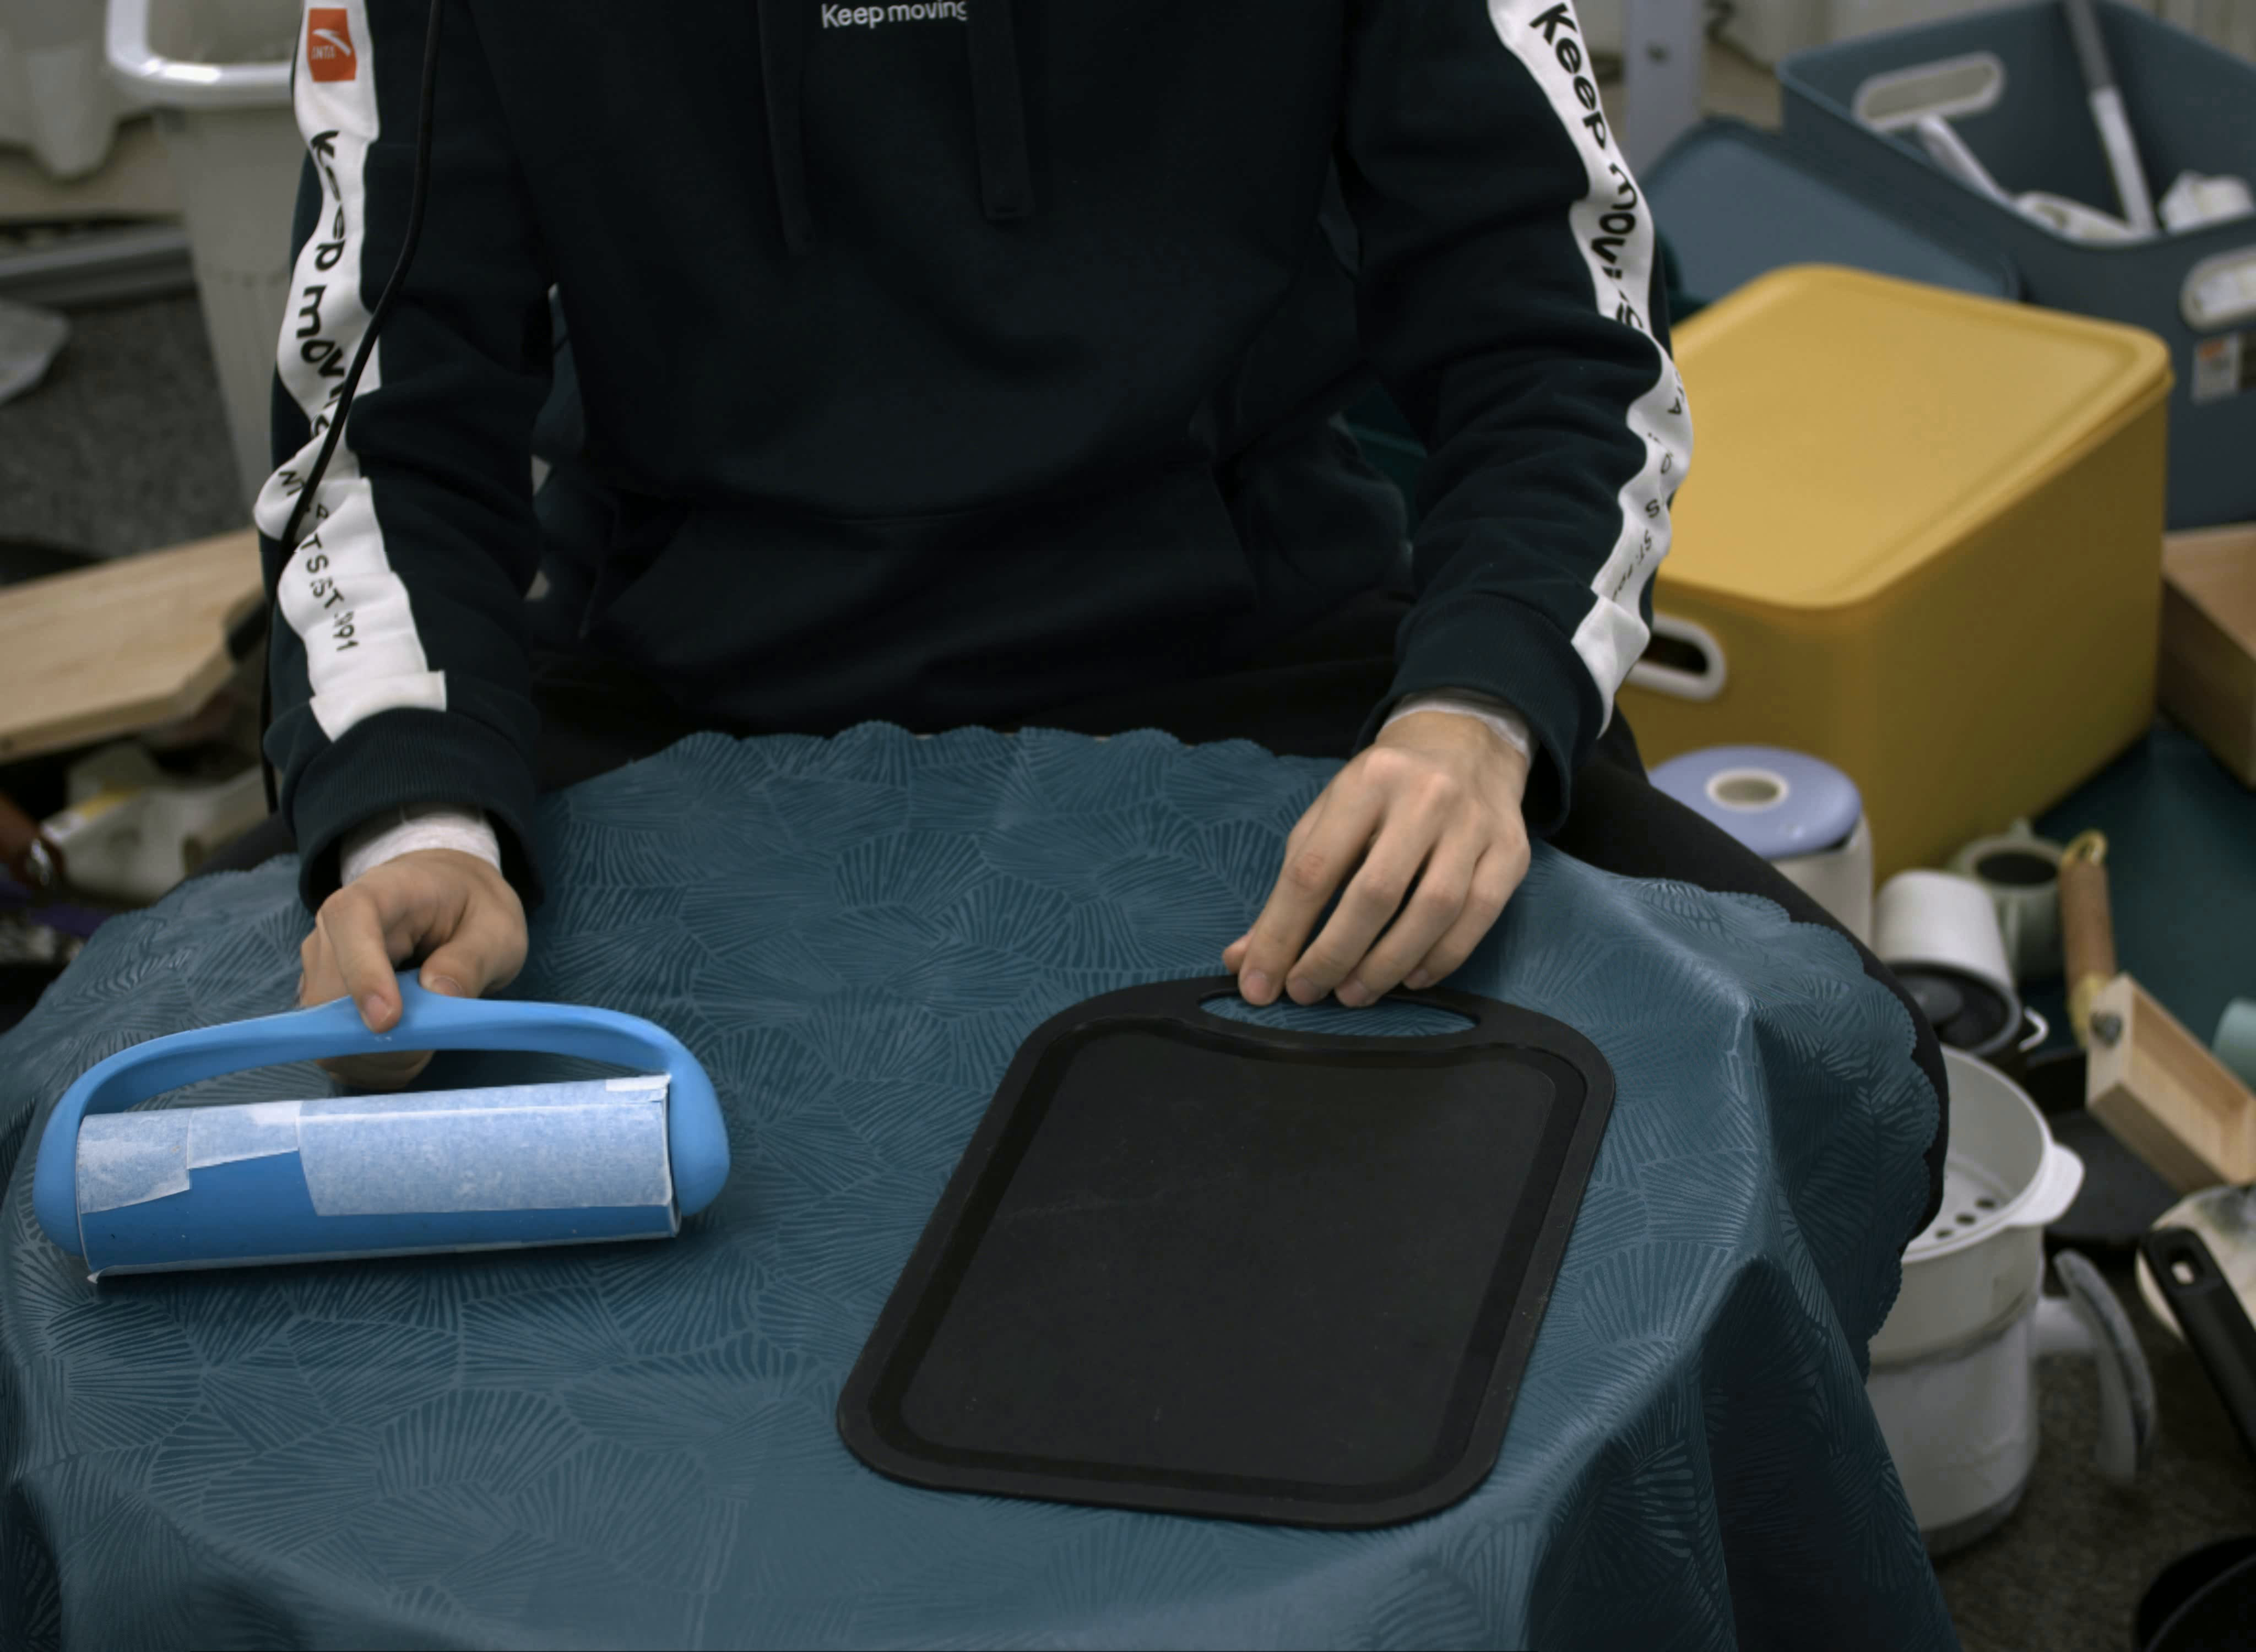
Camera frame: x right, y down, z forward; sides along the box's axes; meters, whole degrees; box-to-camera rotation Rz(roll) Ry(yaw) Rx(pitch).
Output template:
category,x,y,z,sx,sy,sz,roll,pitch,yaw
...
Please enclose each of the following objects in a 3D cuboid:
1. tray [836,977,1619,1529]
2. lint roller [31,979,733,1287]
category,x,y,z,sx,sy,sz,roll,pitch,yaw
tray,0.039,0.129,1.835,0.209,0.009,0.331,4,28,14
lint roller,-0.249,0.087,1.890,0.228,0.067,0.183,-6,28,-3
